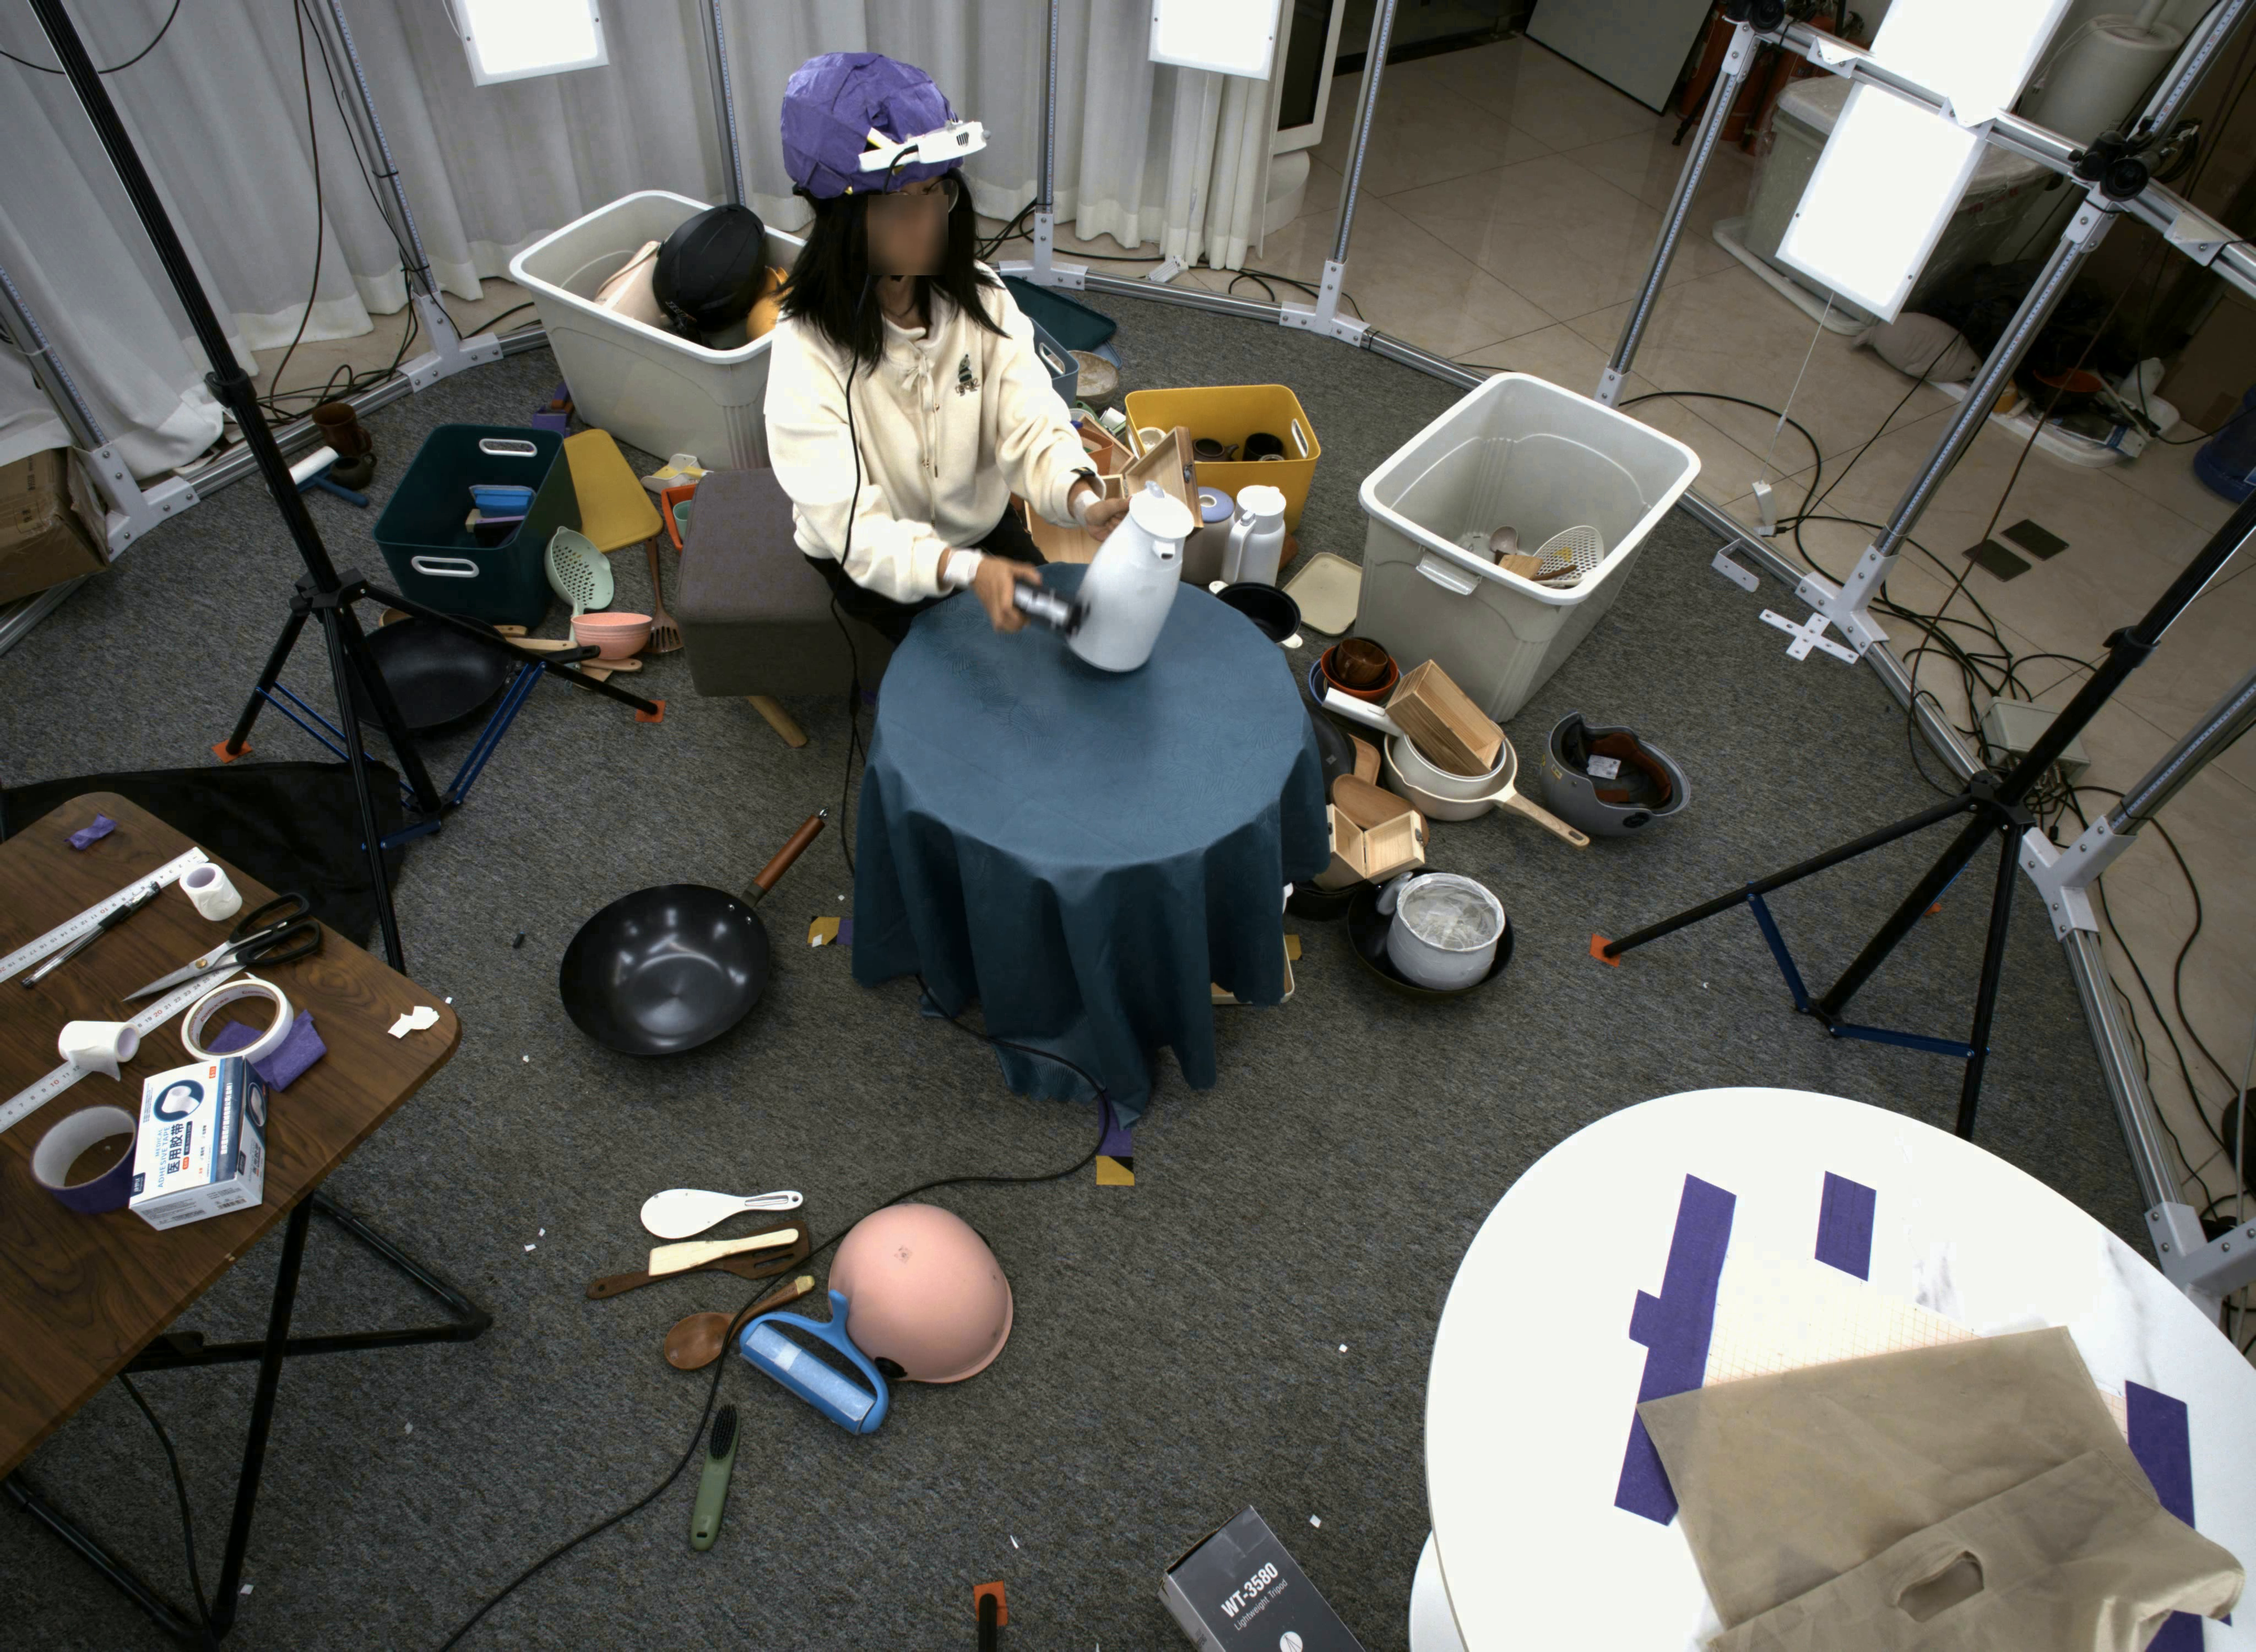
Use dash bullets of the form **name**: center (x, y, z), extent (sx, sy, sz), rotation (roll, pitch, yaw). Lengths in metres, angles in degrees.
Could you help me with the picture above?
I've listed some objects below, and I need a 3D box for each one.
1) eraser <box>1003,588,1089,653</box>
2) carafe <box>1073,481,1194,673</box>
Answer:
- **eraser**: center (-0.113, -0.282, 1.757), extent (0.127, 0.030, 0.053), rotation (29, 89, 37)
- **carafe**: center (0.005, -0.359, 1.796), extent (0.132, 0.243, 0.172), rotation (0, 53, -21)
